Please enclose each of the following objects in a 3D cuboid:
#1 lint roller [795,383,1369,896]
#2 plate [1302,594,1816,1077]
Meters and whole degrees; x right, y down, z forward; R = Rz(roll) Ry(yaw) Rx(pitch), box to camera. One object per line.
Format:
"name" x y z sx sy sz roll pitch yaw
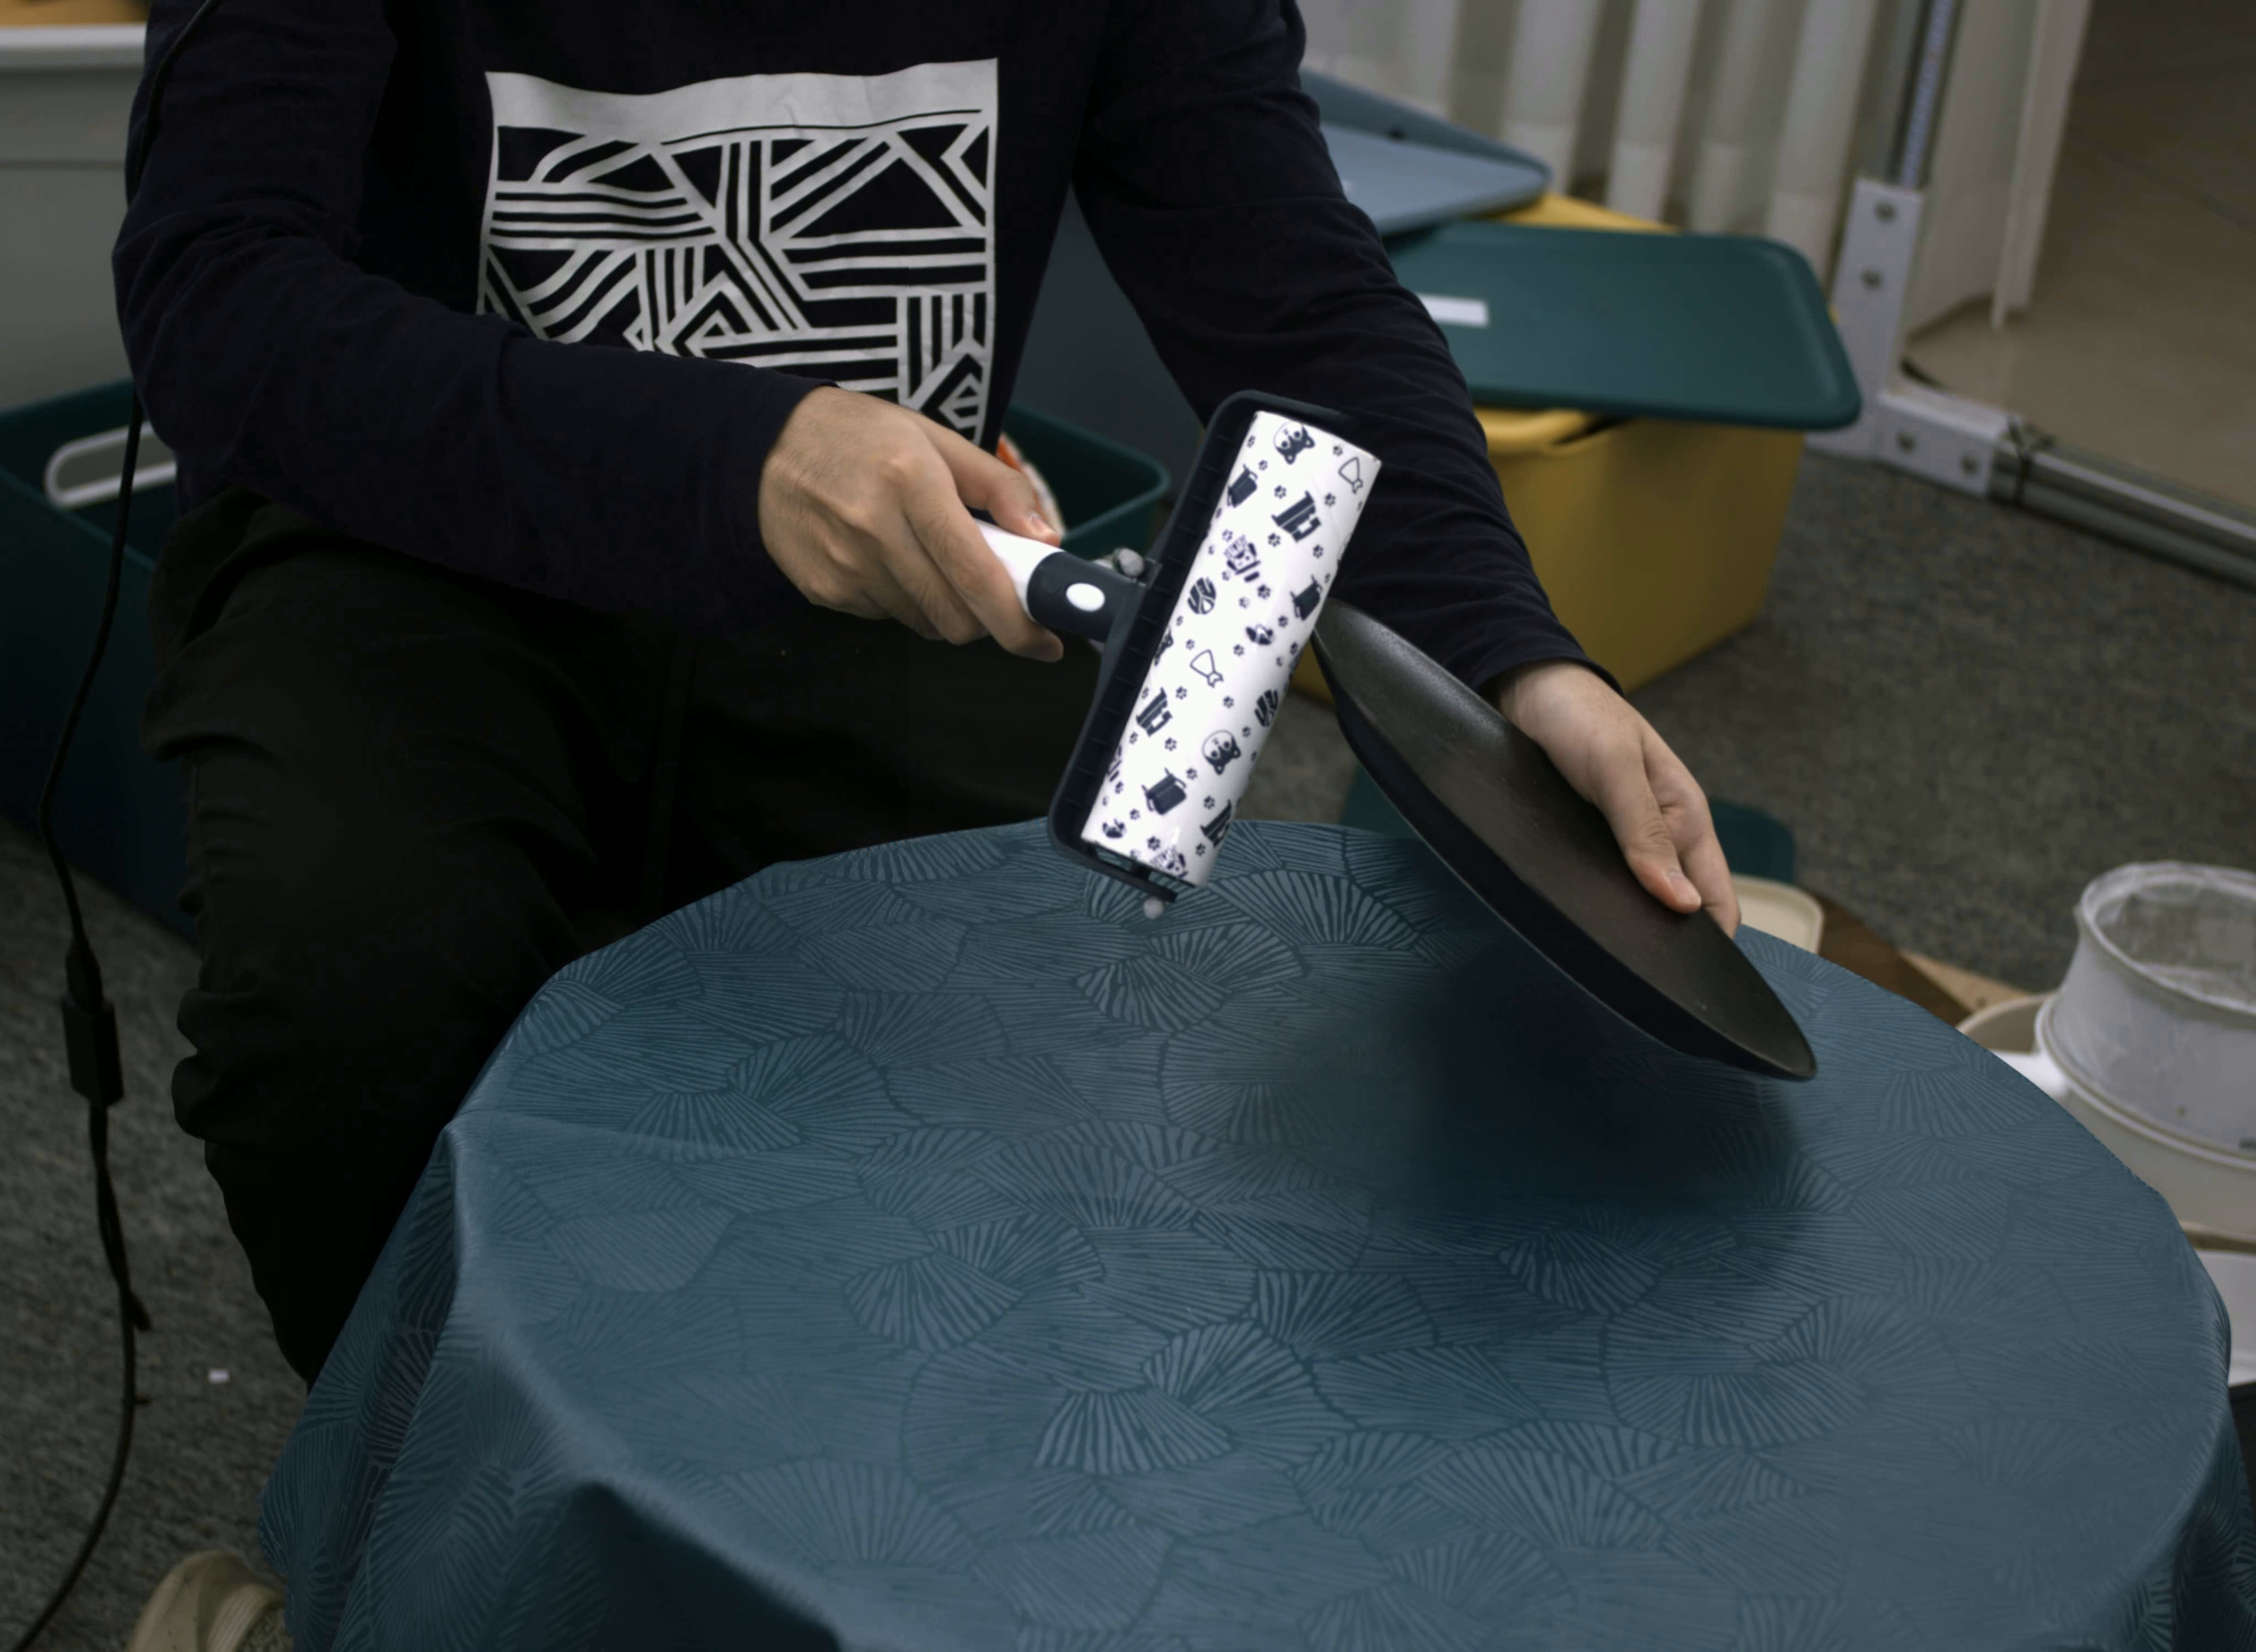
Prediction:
"lint roller" -0.039 -0.090 1.894 0.249 0.176 0.050 21 -1 41
"plate" 0.145 0.008 1.870 0.243 0.023 0.245 40 12 -11
